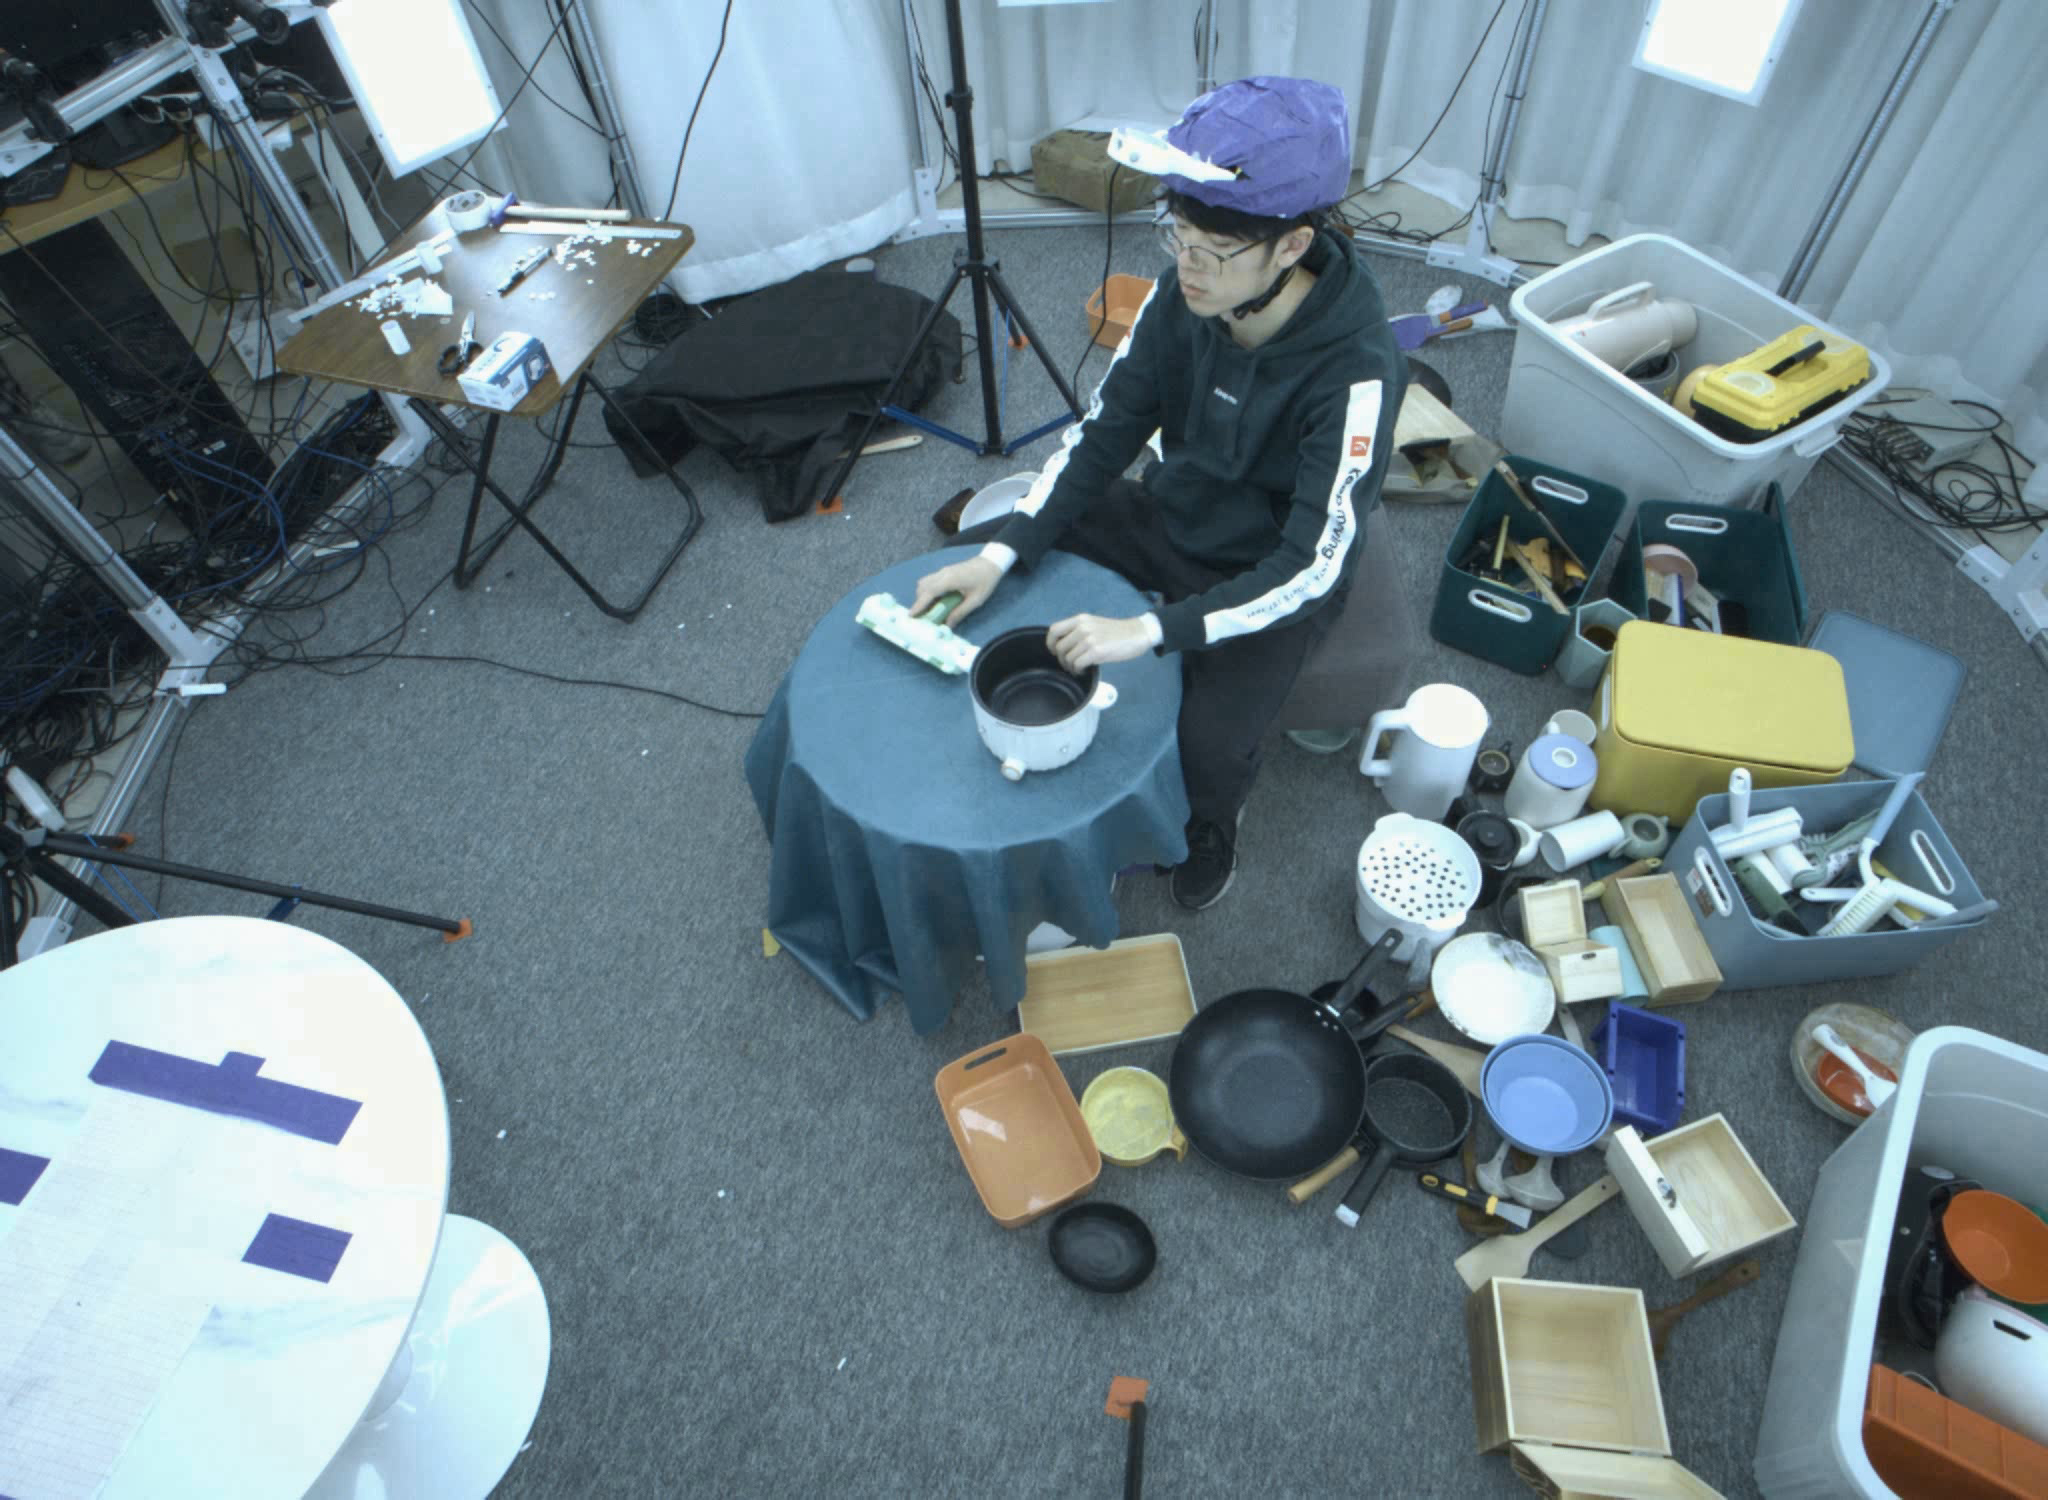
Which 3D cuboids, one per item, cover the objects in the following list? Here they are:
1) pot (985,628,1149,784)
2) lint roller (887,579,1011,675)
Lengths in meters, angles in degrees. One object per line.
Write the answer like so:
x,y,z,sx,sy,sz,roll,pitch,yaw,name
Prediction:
0.059,-0.056,1.736,0.237,0.144,0.190,18,54,16,pot
-0.086,-0.221,1.896,0.195,0.083,0.184,32,67,23,lint roller
